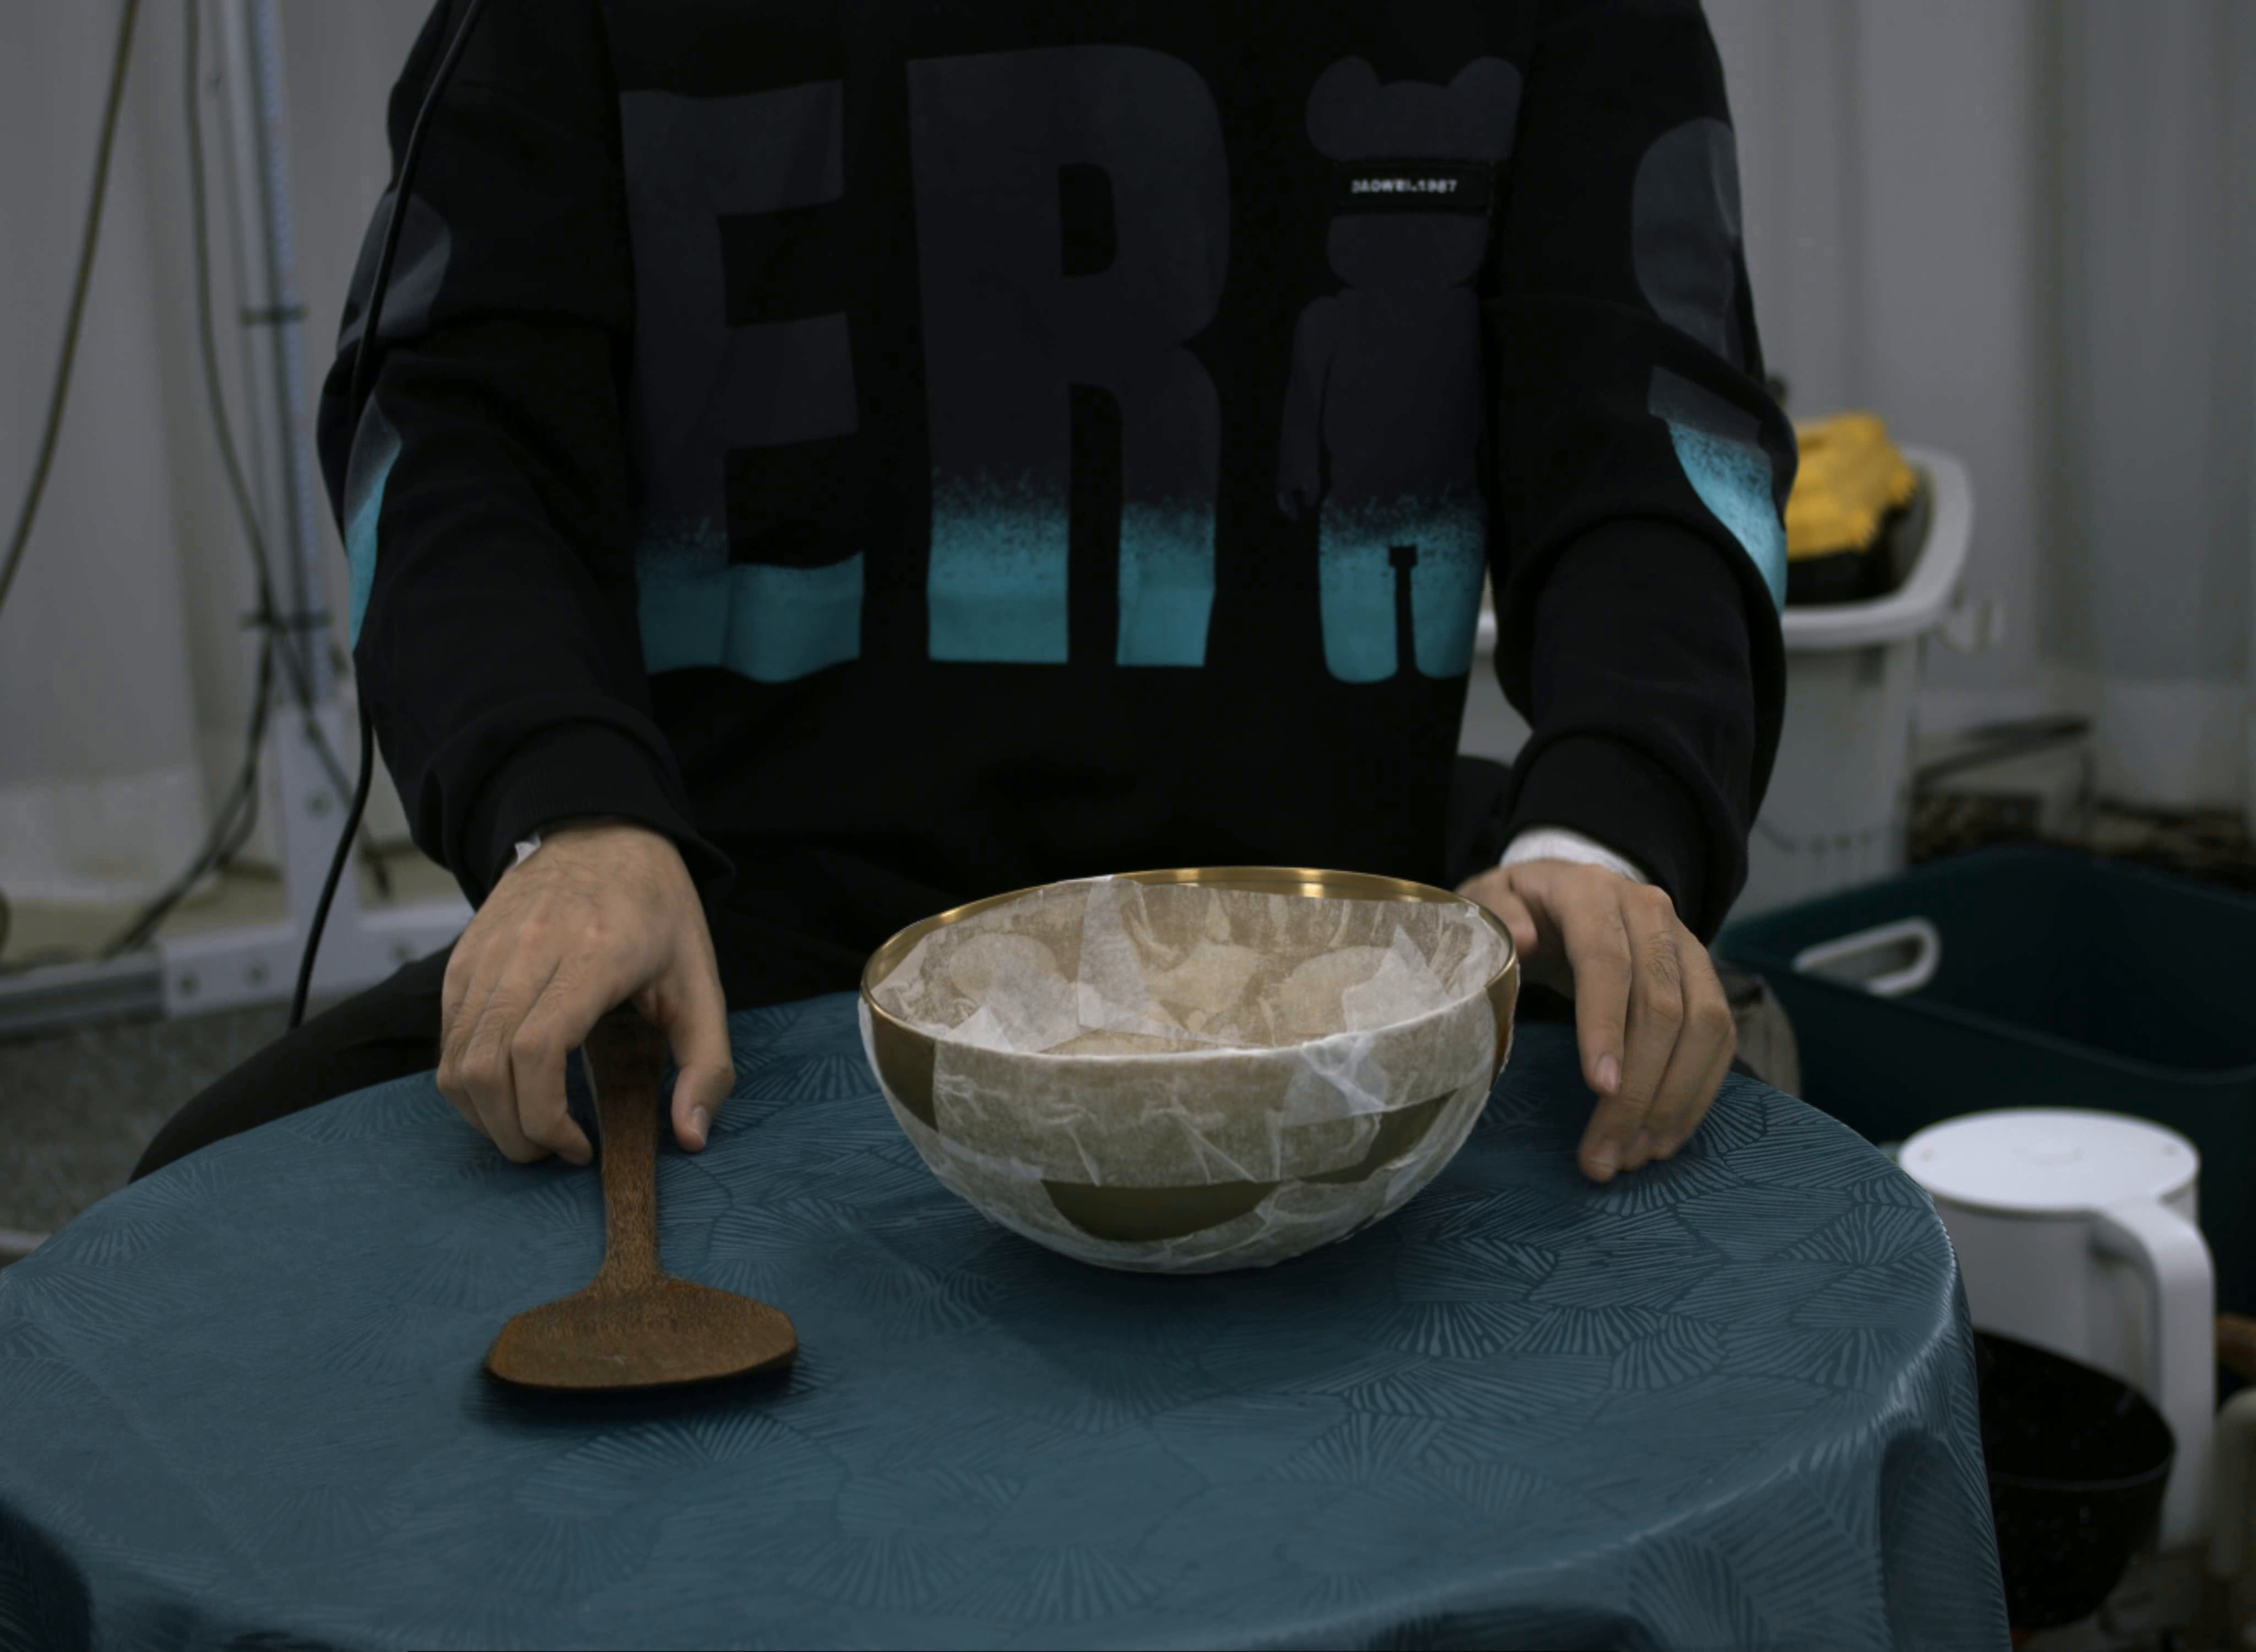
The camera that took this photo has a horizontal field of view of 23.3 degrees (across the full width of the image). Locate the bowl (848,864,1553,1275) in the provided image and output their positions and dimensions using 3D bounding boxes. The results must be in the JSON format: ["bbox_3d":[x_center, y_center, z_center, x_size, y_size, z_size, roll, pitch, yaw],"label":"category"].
[{"bbox_3d":[0.023,0.081,1.658,0.214,0.094,0.216,-4,13,1],"label":"bowl"}]

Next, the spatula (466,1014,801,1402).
[{"bbox_3d":[-0.158,0.114,1.721,0.096,0.016,0.389,-4,15,-5],"label":"spatula"}]
